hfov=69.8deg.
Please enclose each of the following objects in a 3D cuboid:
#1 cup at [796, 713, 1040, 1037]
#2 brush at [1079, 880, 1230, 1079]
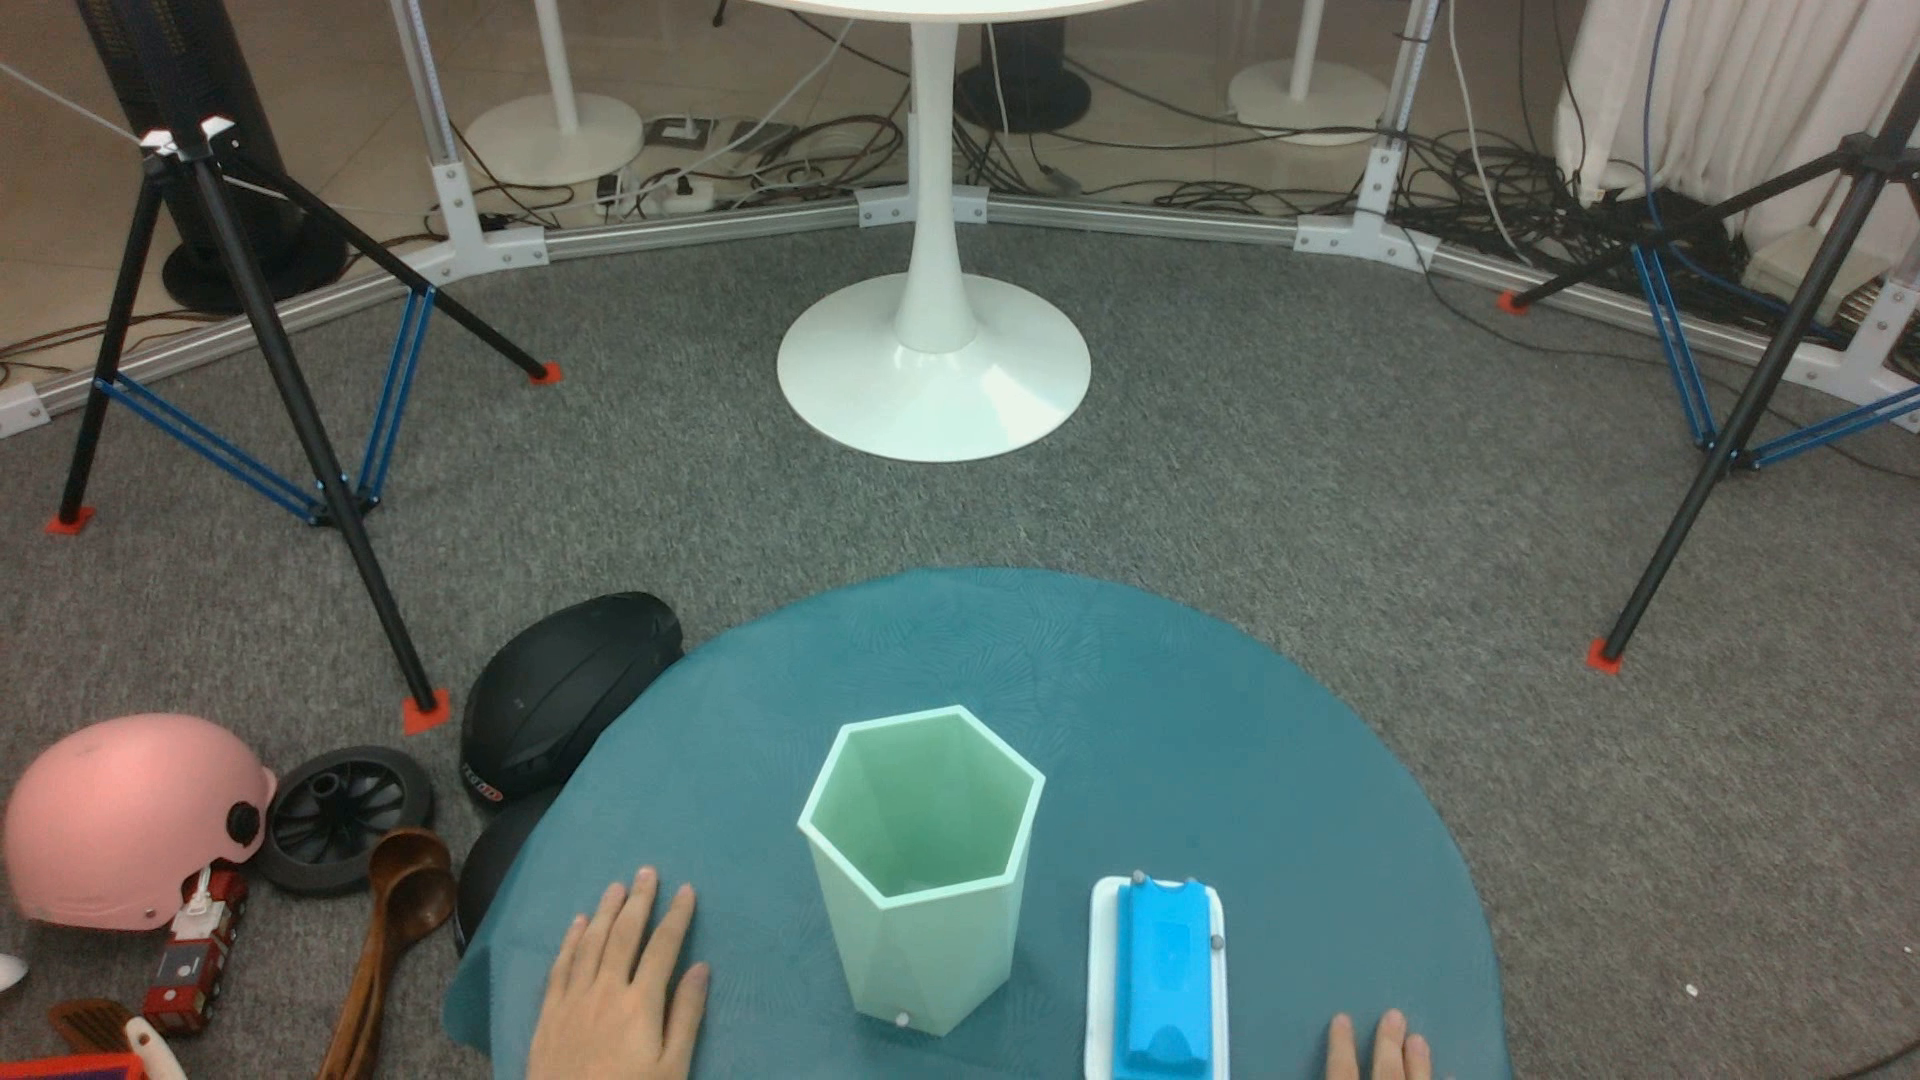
[{"bbox_3d":[-0.023,0.196,0.777,0.131,0.162,0.115,-9,46,-11],"label":"cup"},{"bbox_3d":[0.115,0.255,0.793,0.084,0.055,0.144,5,42,7],"label":"brush"}]
